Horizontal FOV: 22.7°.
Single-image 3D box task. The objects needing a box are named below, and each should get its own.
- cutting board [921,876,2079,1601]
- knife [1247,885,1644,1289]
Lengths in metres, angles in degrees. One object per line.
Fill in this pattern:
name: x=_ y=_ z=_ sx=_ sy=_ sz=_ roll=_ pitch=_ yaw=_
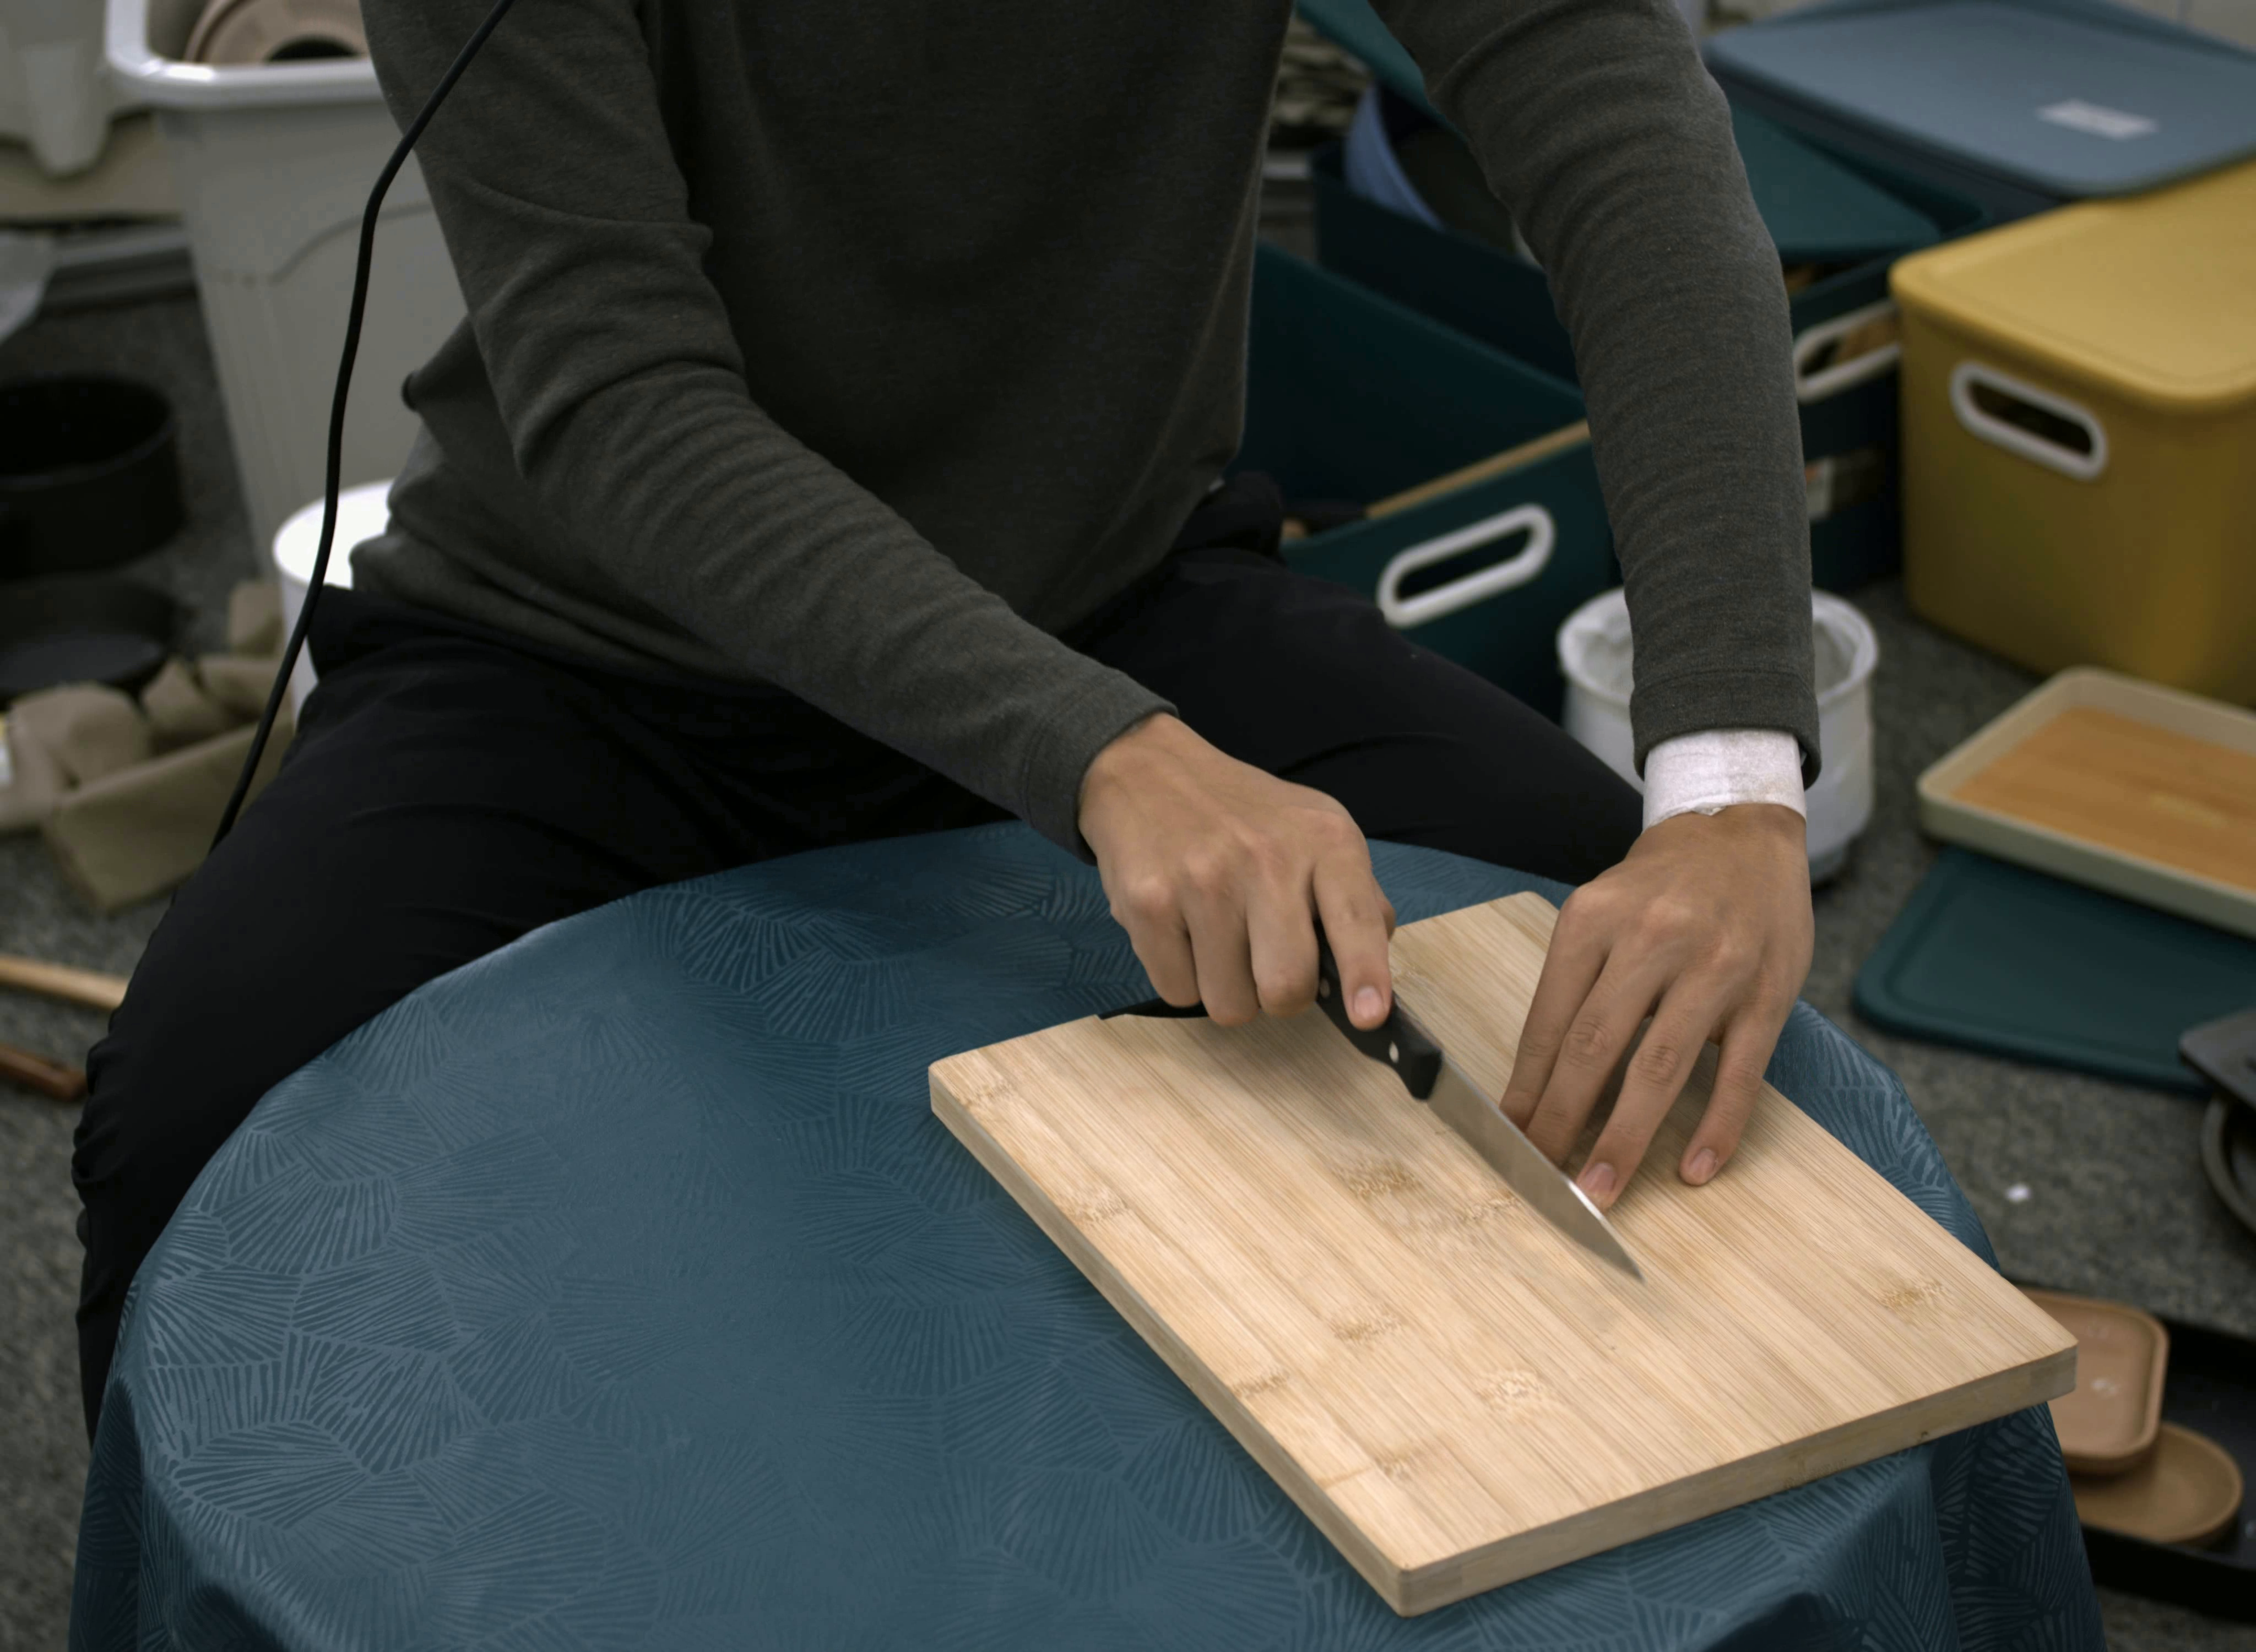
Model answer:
cutting board: x=0.110 y=0.125 z=1.825 sx=0.252 sy=0.023 sz=0.350 roll=-15 pitch=30 yaw=-23
knife: x=0.102 y=0.082 z=1.819 sx=0.016 sy=0.024 sz=0.240 roll=-17 pitch=37 yaw=-23
